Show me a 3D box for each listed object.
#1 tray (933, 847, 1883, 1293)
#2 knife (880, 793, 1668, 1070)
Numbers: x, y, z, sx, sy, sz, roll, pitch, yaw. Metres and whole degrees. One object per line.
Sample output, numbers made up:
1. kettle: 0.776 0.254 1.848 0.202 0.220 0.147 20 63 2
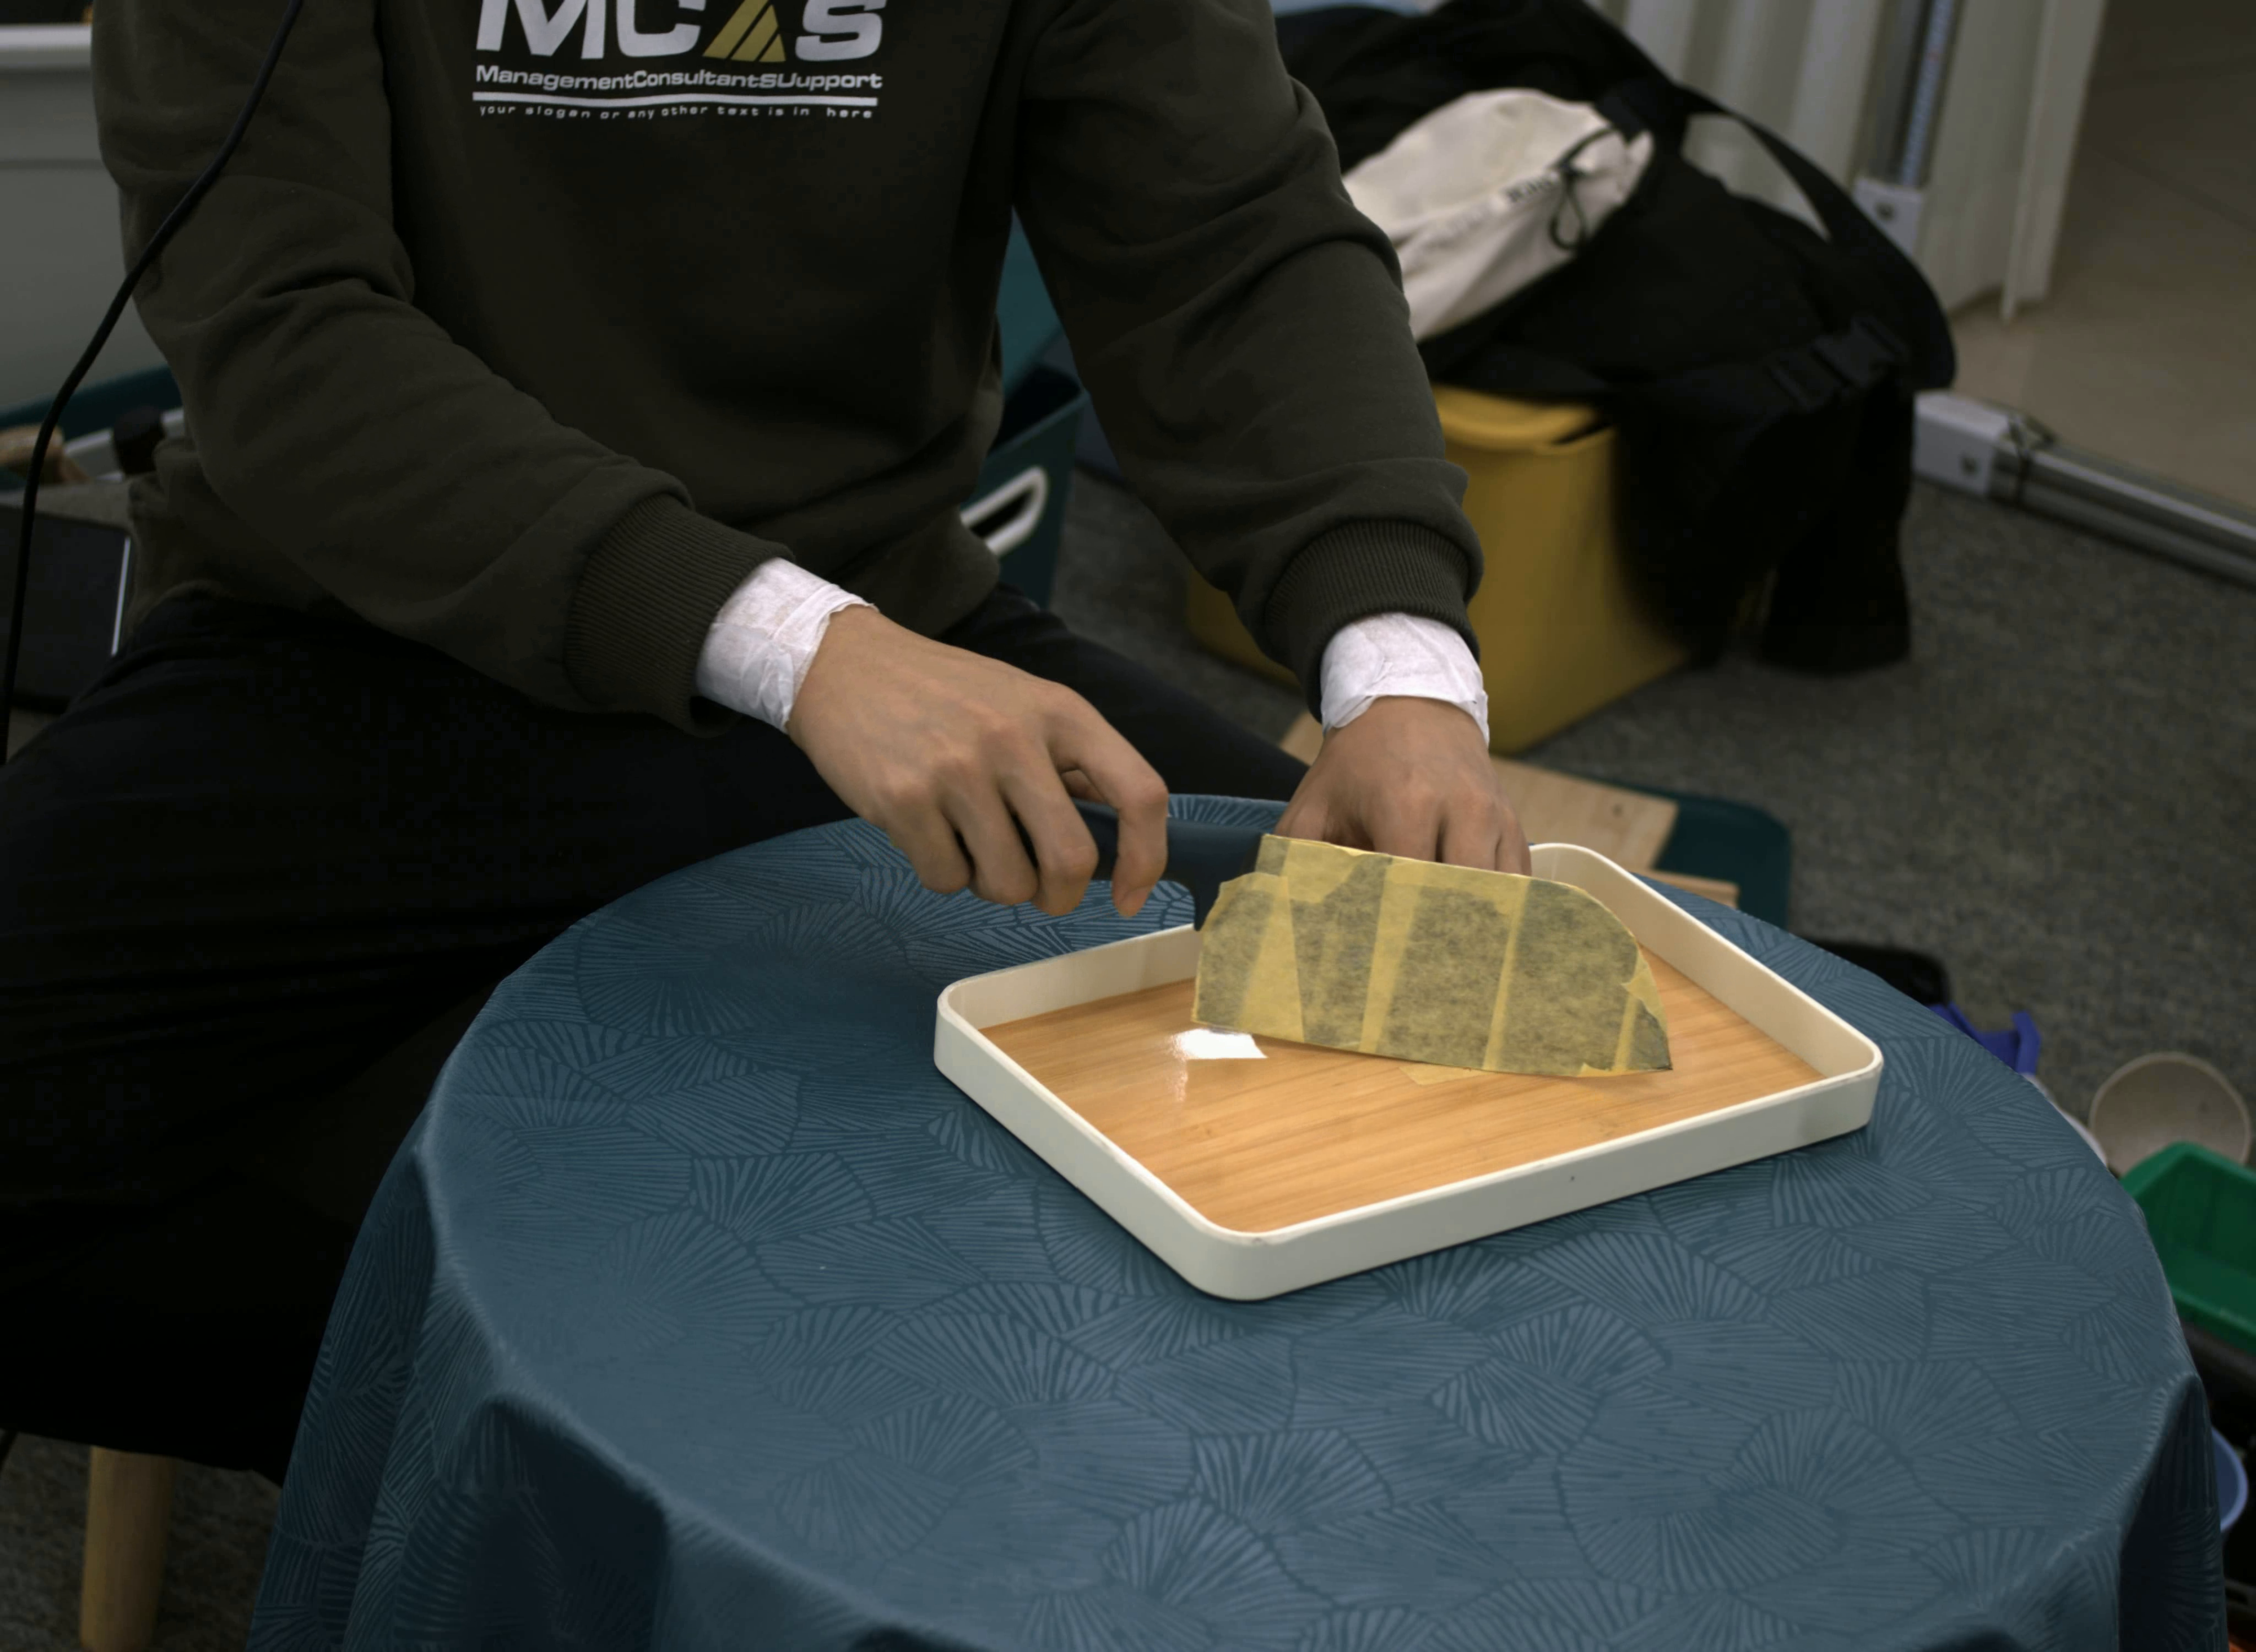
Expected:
1. tray: 0.099 0.082 1.882 0.298 0.027 0.193 -12 31 -33
2. knife: 0.051 0.037 1.885 0.289 0.081 0.027 12 8 1
